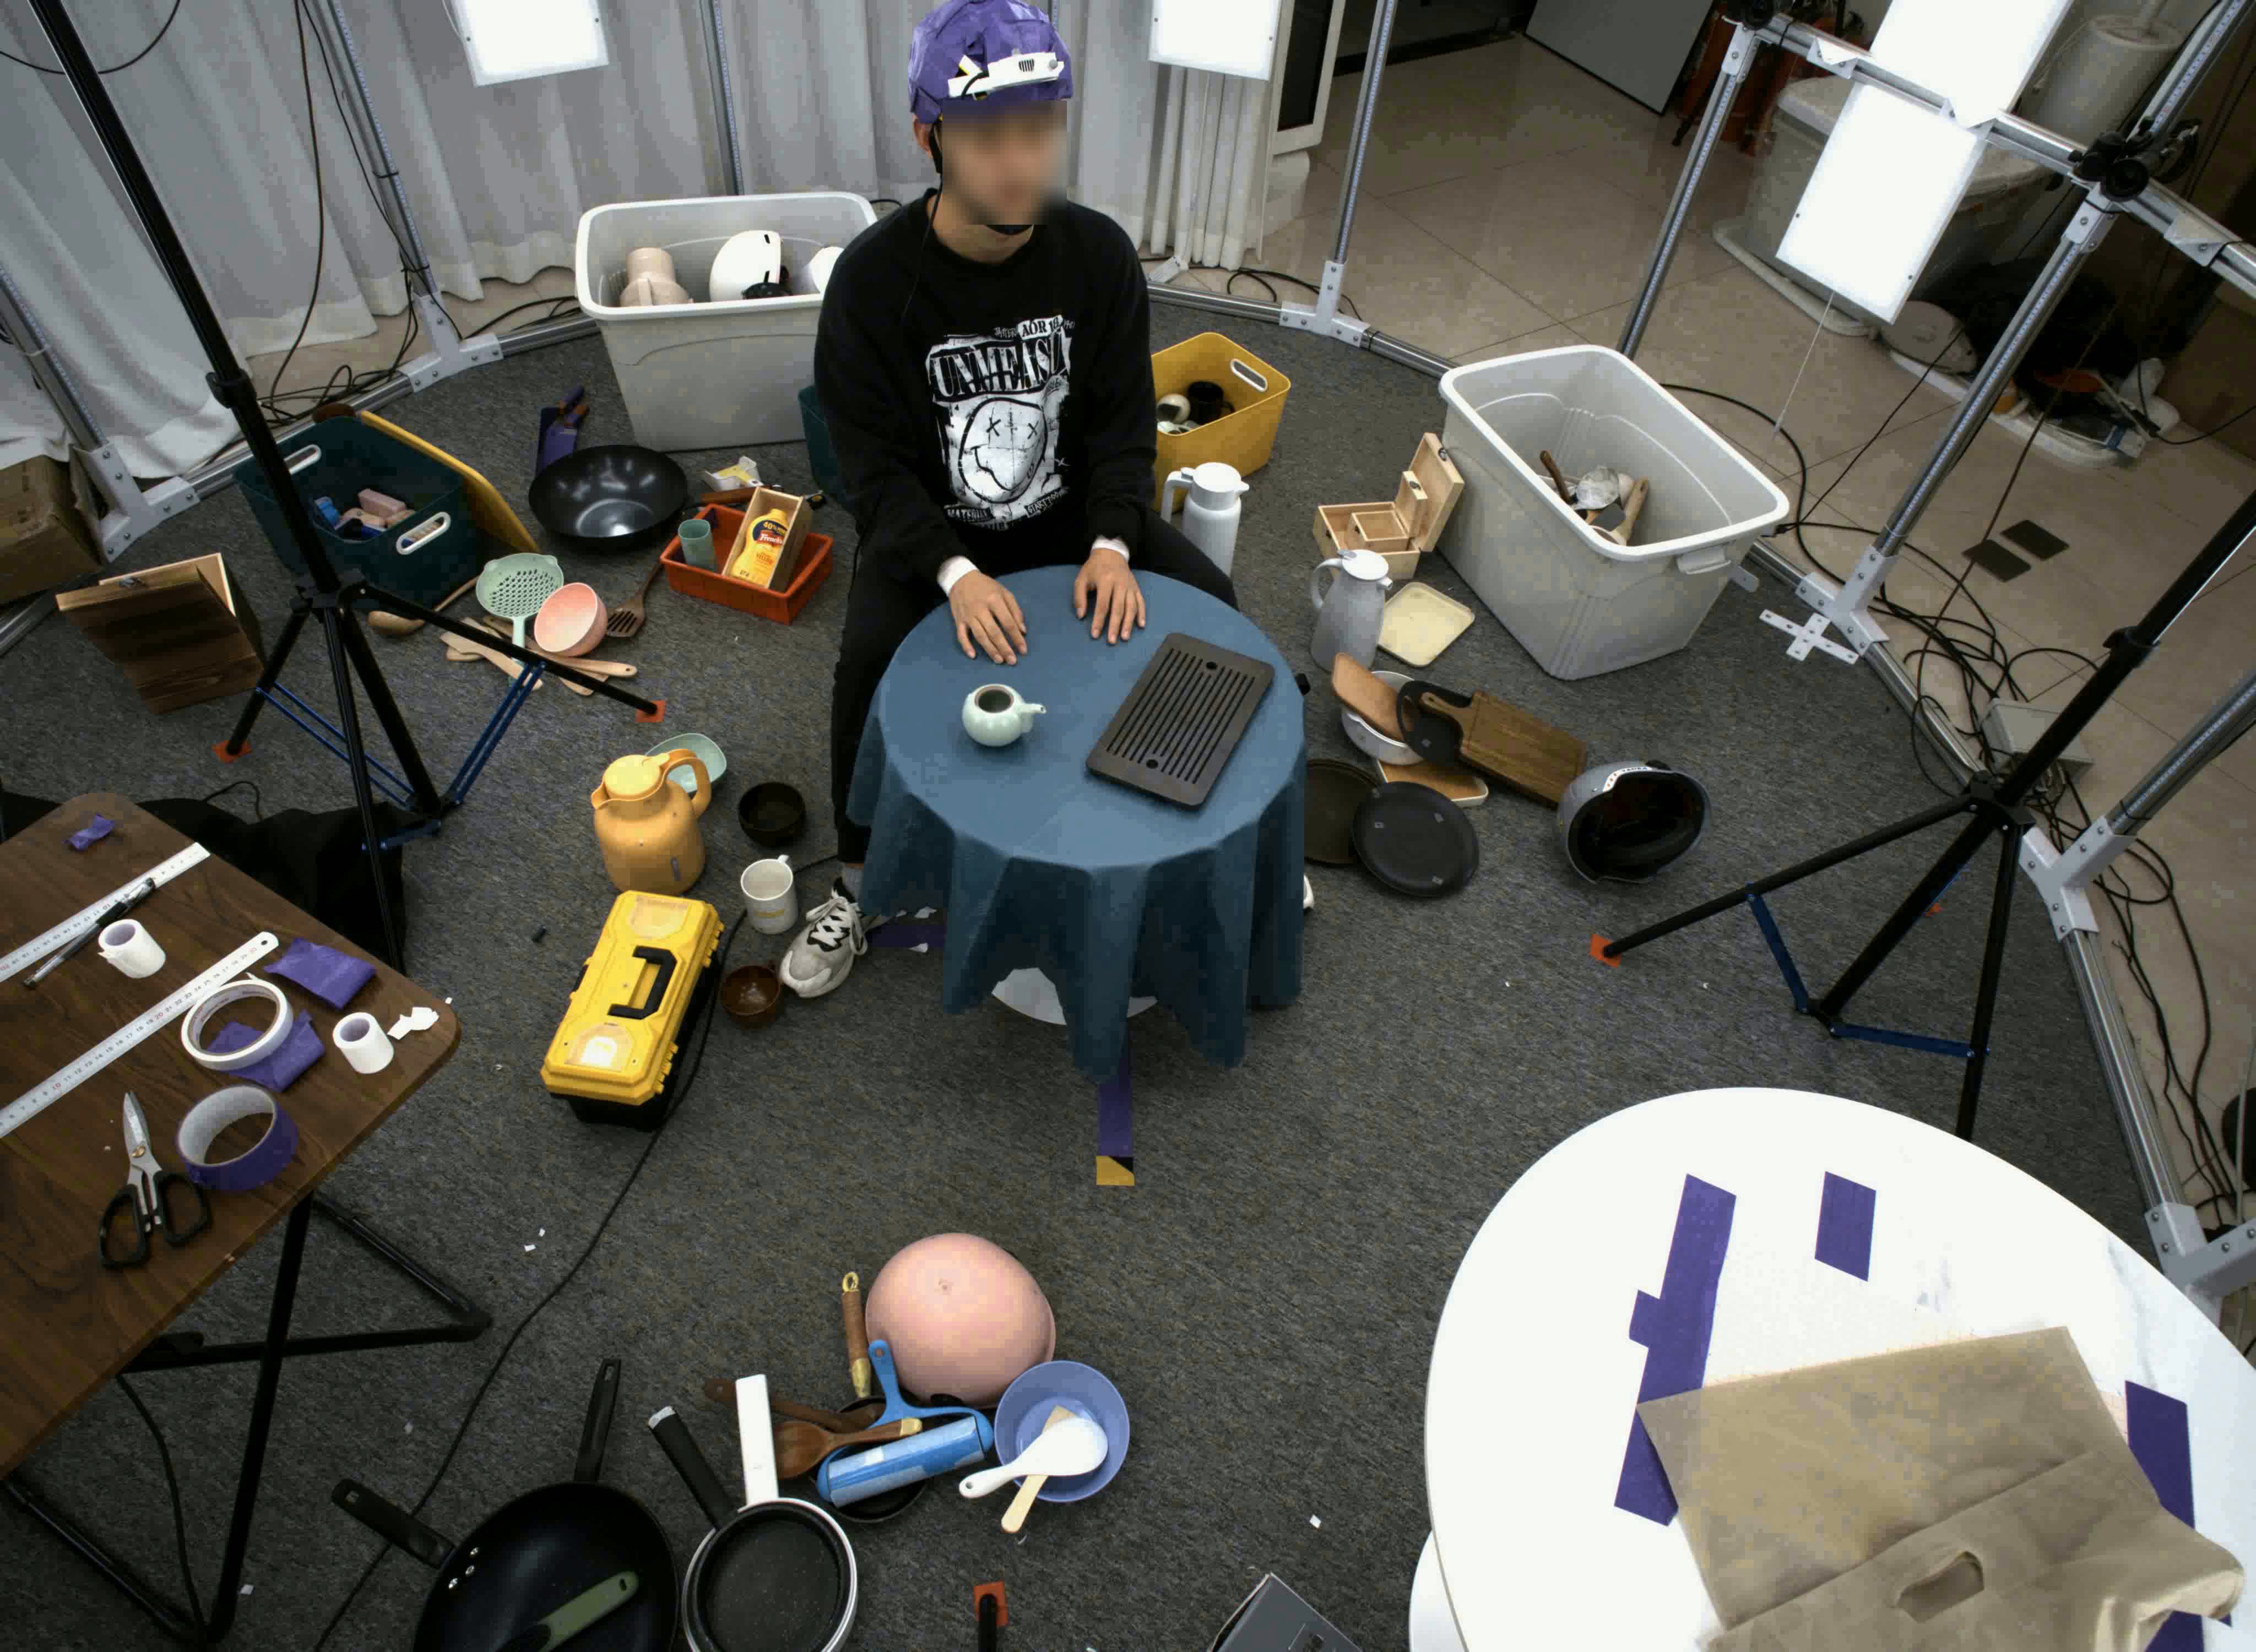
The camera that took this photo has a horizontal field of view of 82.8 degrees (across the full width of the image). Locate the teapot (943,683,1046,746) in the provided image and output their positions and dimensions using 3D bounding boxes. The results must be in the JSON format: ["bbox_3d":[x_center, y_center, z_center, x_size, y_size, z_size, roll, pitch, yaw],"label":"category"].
[{"bbox_3d":[-0.180,-0.152,1.743,0.144,0.073,0.090,16,50,8],"label":"teapot"}]

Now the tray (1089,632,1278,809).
[{"bbox_3d":[0.082,-0.152,1.794,0.171,0.018,0.311,20,51,14],"label":"tray"}]
